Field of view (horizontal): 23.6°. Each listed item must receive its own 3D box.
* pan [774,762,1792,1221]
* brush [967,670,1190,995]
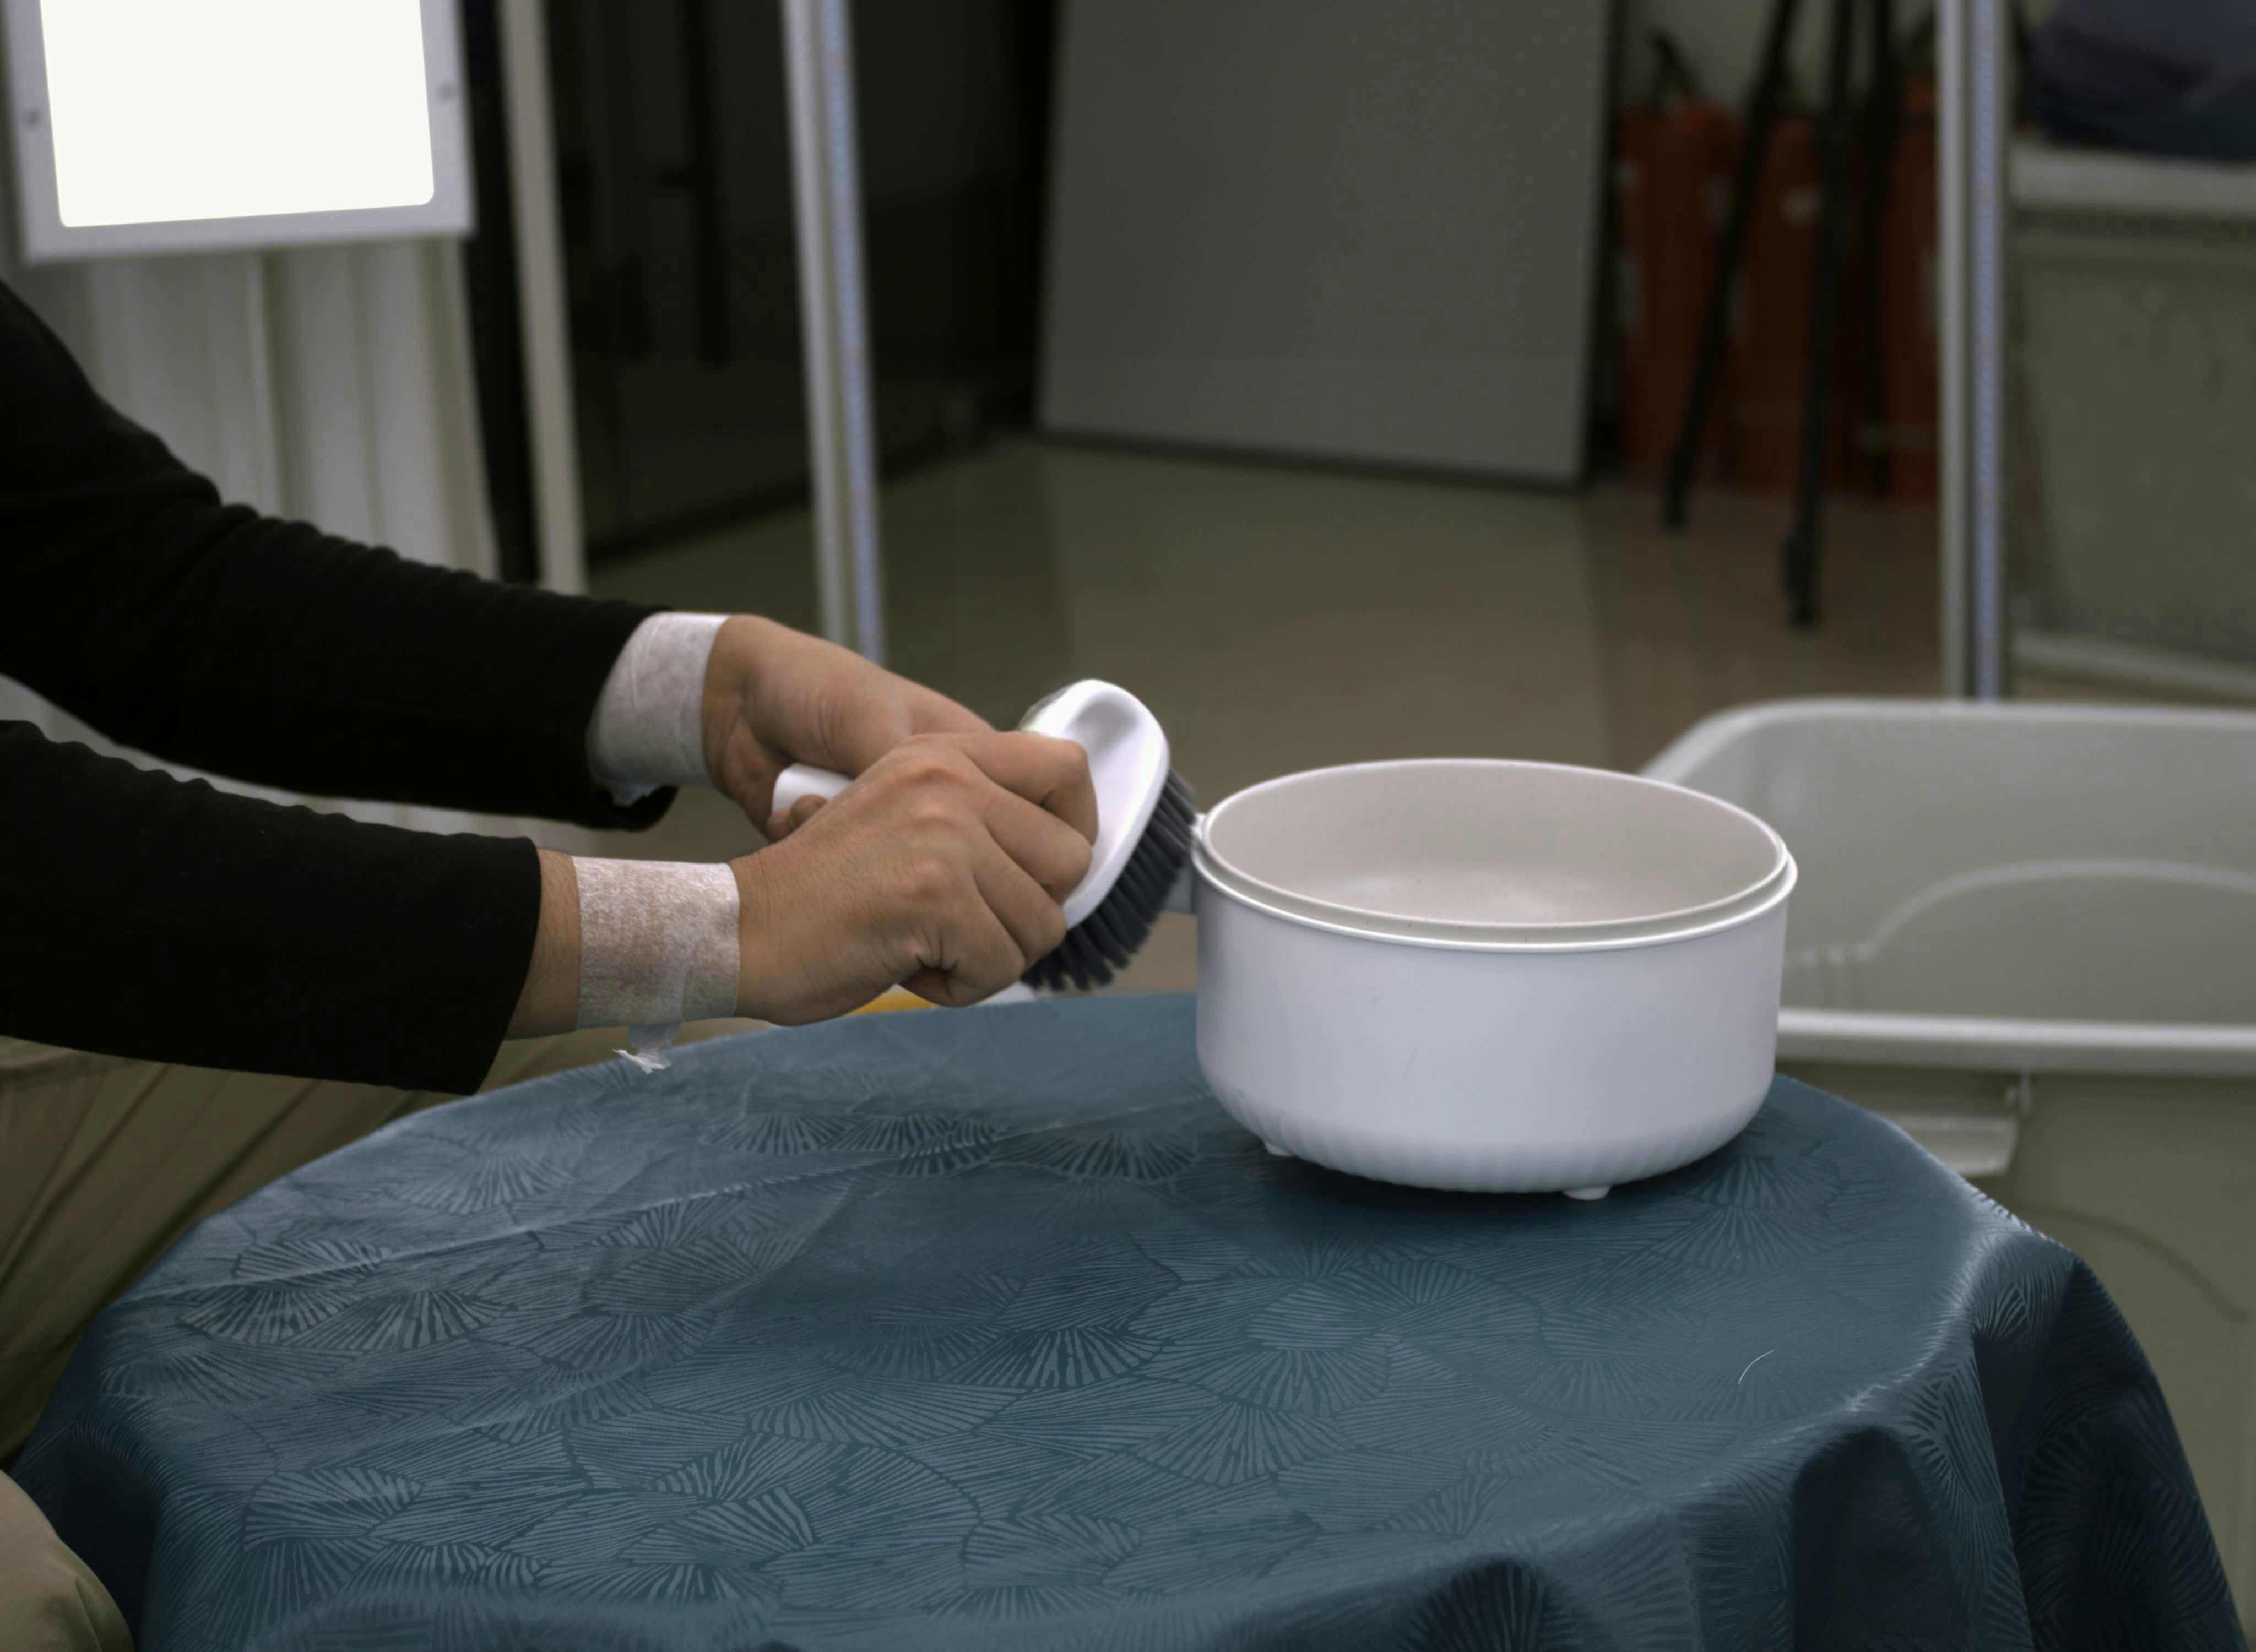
[{"bbox_3d":[0.048,0.050,1.813,0.354,0.103,0.199,5,19,21],"label":"pan"},{"bbox_3d":[-0.021,-0.006,1.745,0.050,0.072,0.099,5,49,28],"label":"brush"}]
